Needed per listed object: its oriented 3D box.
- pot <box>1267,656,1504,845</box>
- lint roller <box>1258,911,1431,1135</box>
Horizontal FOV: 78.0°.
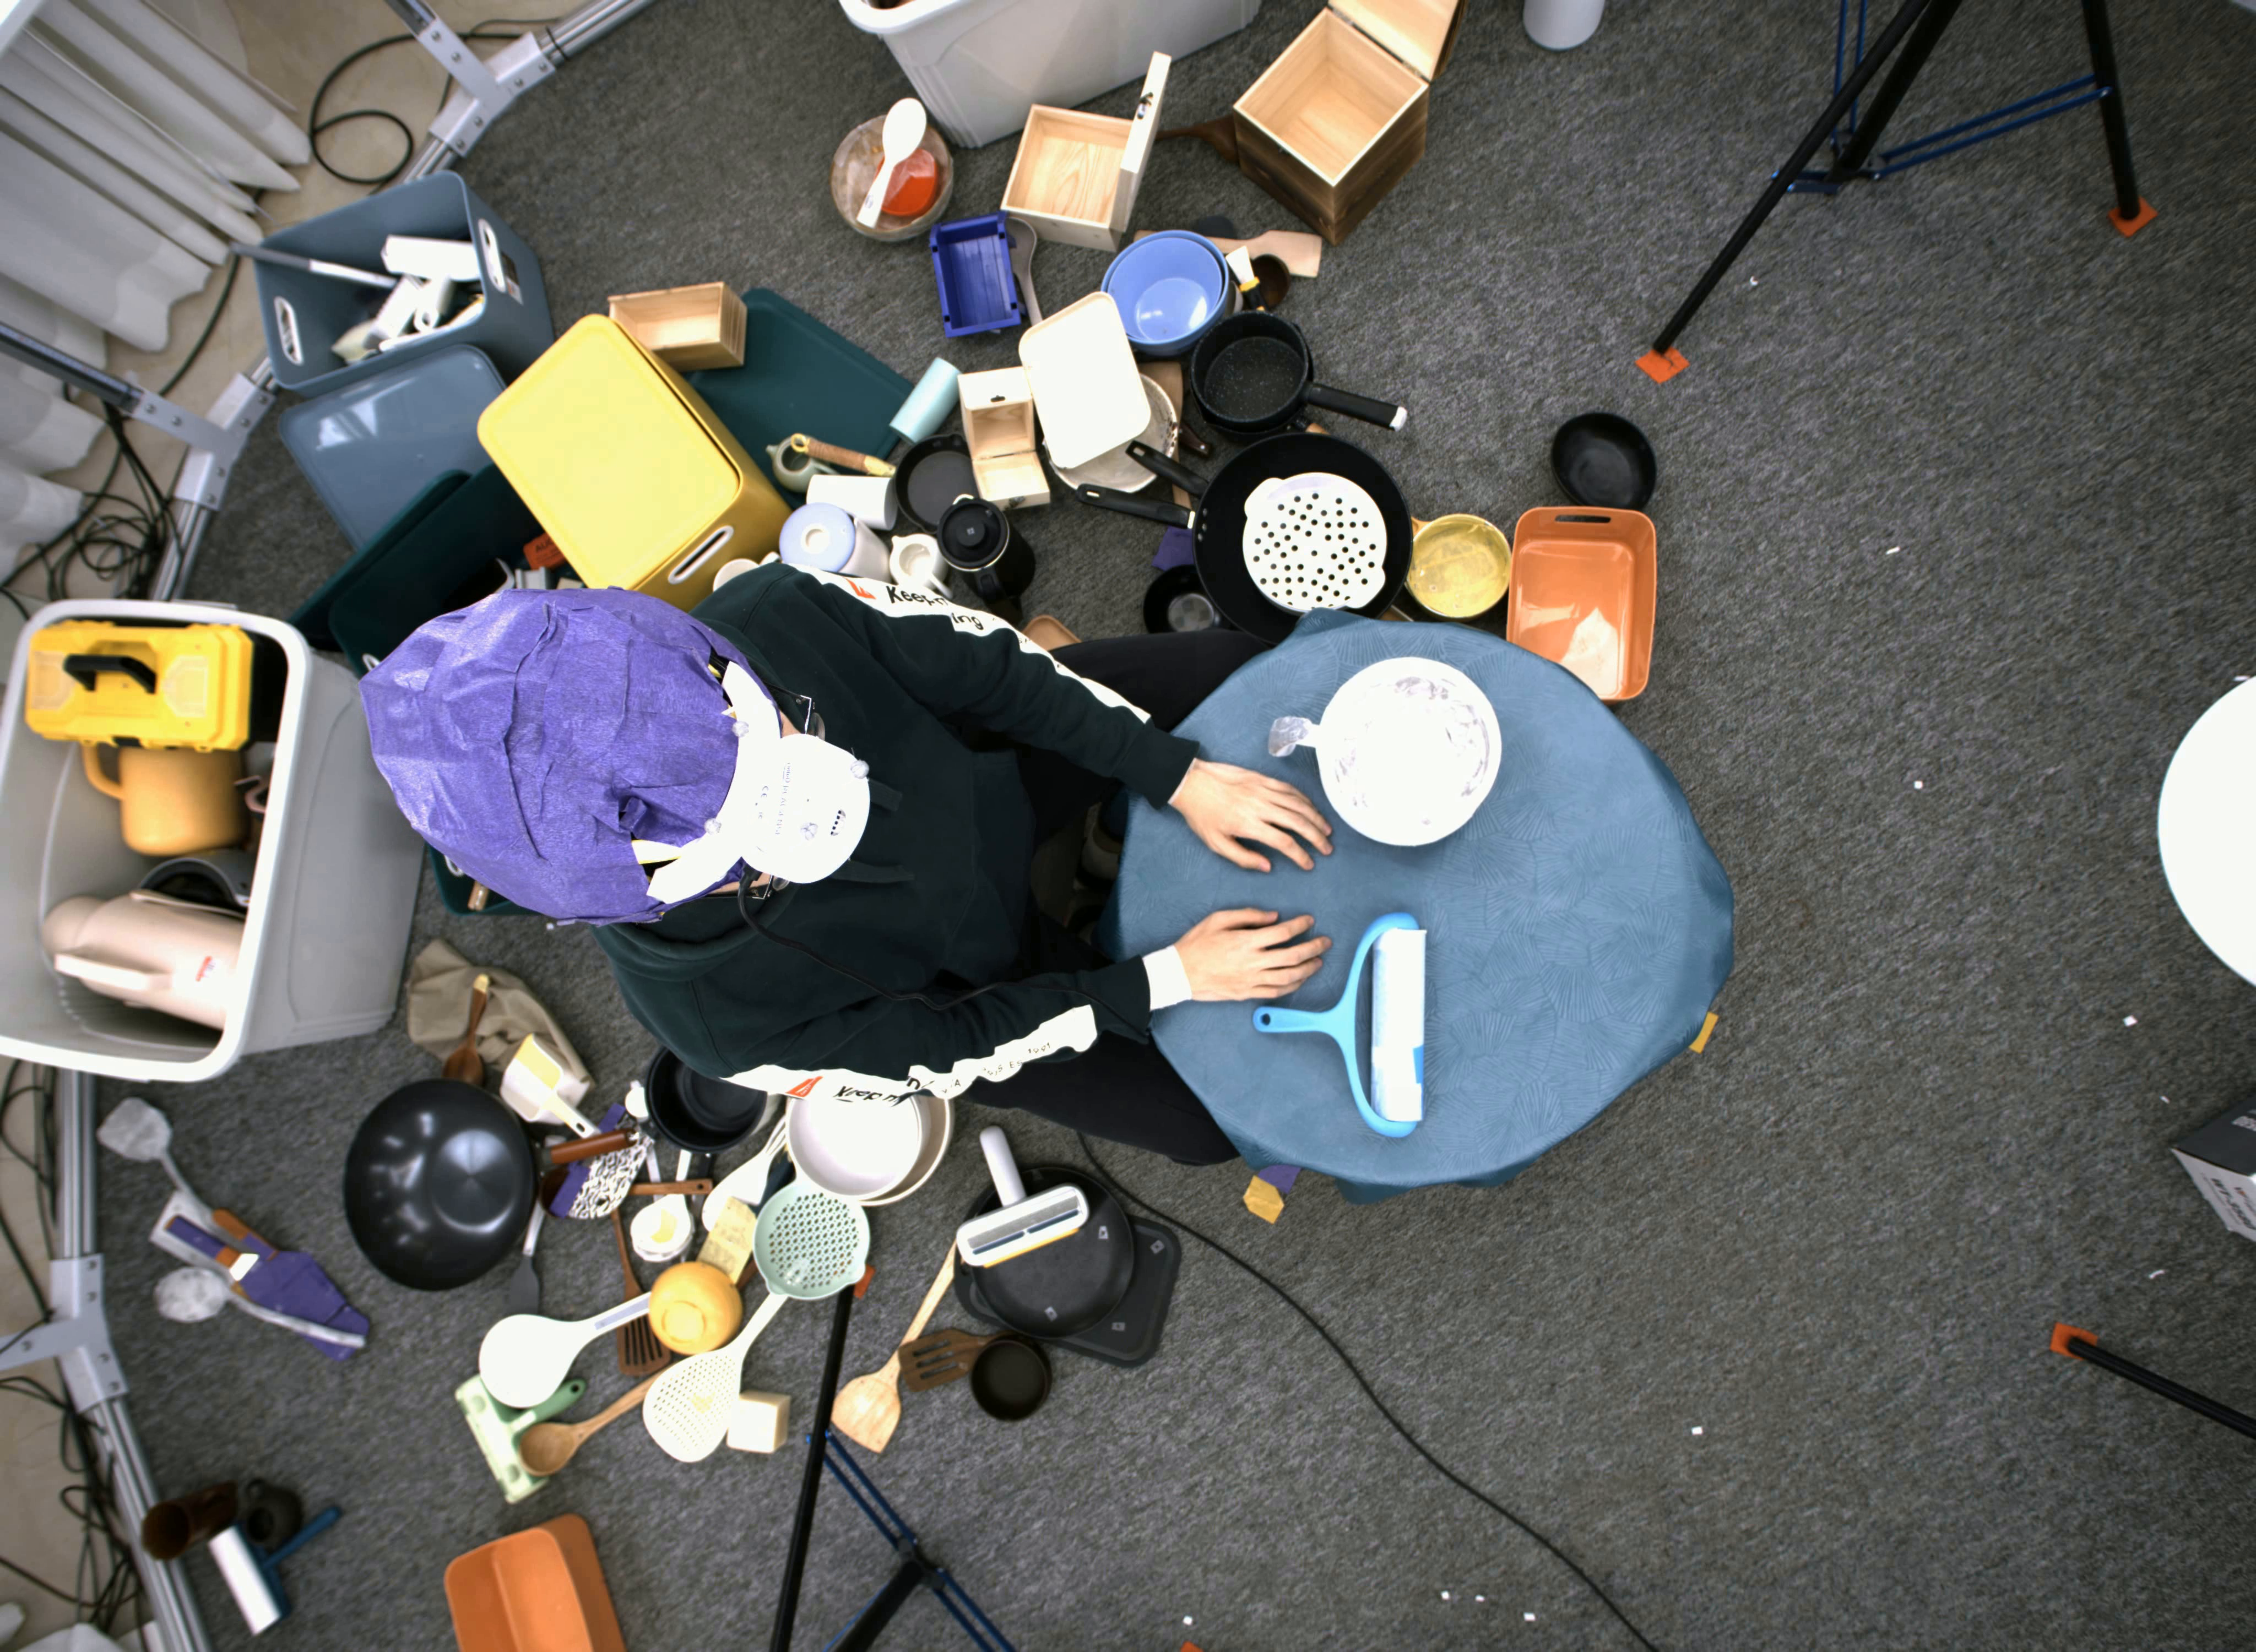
[{"bbox_3d":[0.255,-0.077,1.394,0.234,0.137,0.178,10,88,9],"label":"pot"},{"bbox_3d":[0.223,0.204,1.429,0.181,0.068,0.228,-3,88,9],"label":"lint roller"}]
